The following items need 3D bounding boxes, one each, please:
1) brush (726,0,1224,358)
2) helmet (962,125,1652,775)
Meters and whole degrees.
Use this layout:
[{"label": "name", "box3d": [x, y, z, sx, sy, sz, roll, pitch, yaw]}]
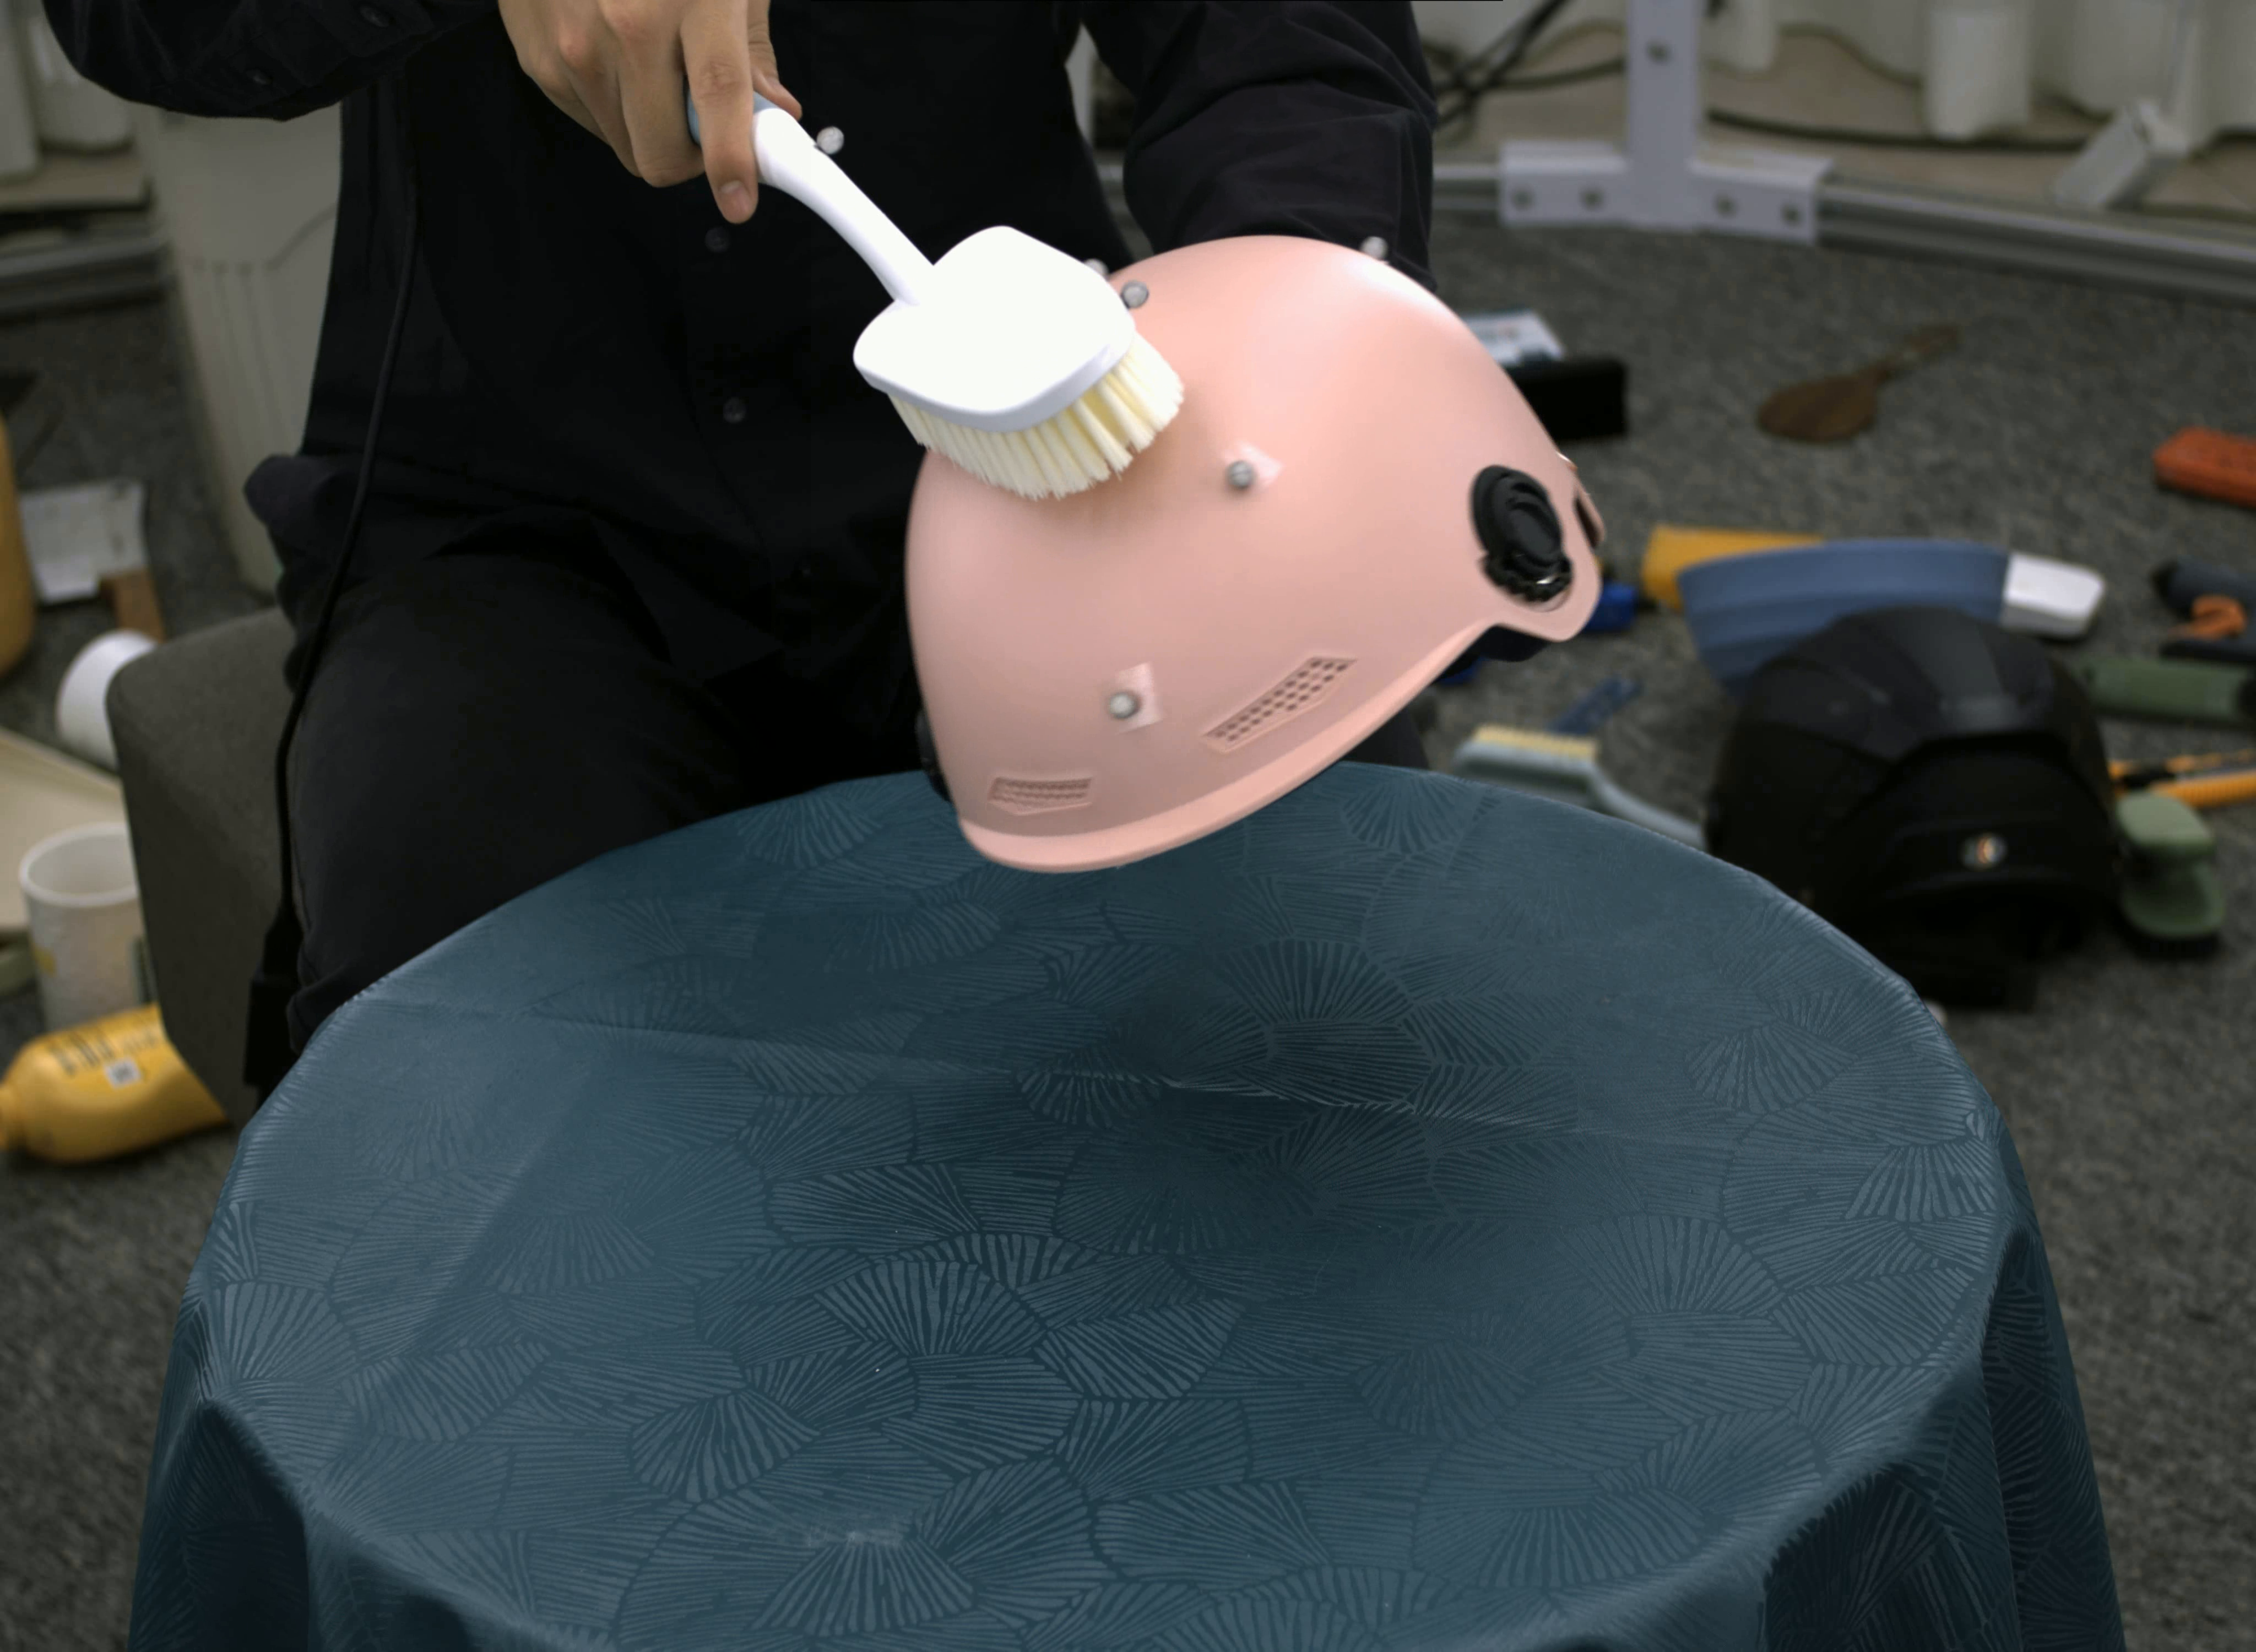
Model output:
[{"label": "brush", "box3d": [-0.067, -0.229, 1.835, 0.083, 0.083, 0.327, -11, 31, -33]}, {"label": "helmet", "box3d": [0.041, -0.137, 1.839, 0.231, 0.158, 0.270, -20, 17, 23]}]
